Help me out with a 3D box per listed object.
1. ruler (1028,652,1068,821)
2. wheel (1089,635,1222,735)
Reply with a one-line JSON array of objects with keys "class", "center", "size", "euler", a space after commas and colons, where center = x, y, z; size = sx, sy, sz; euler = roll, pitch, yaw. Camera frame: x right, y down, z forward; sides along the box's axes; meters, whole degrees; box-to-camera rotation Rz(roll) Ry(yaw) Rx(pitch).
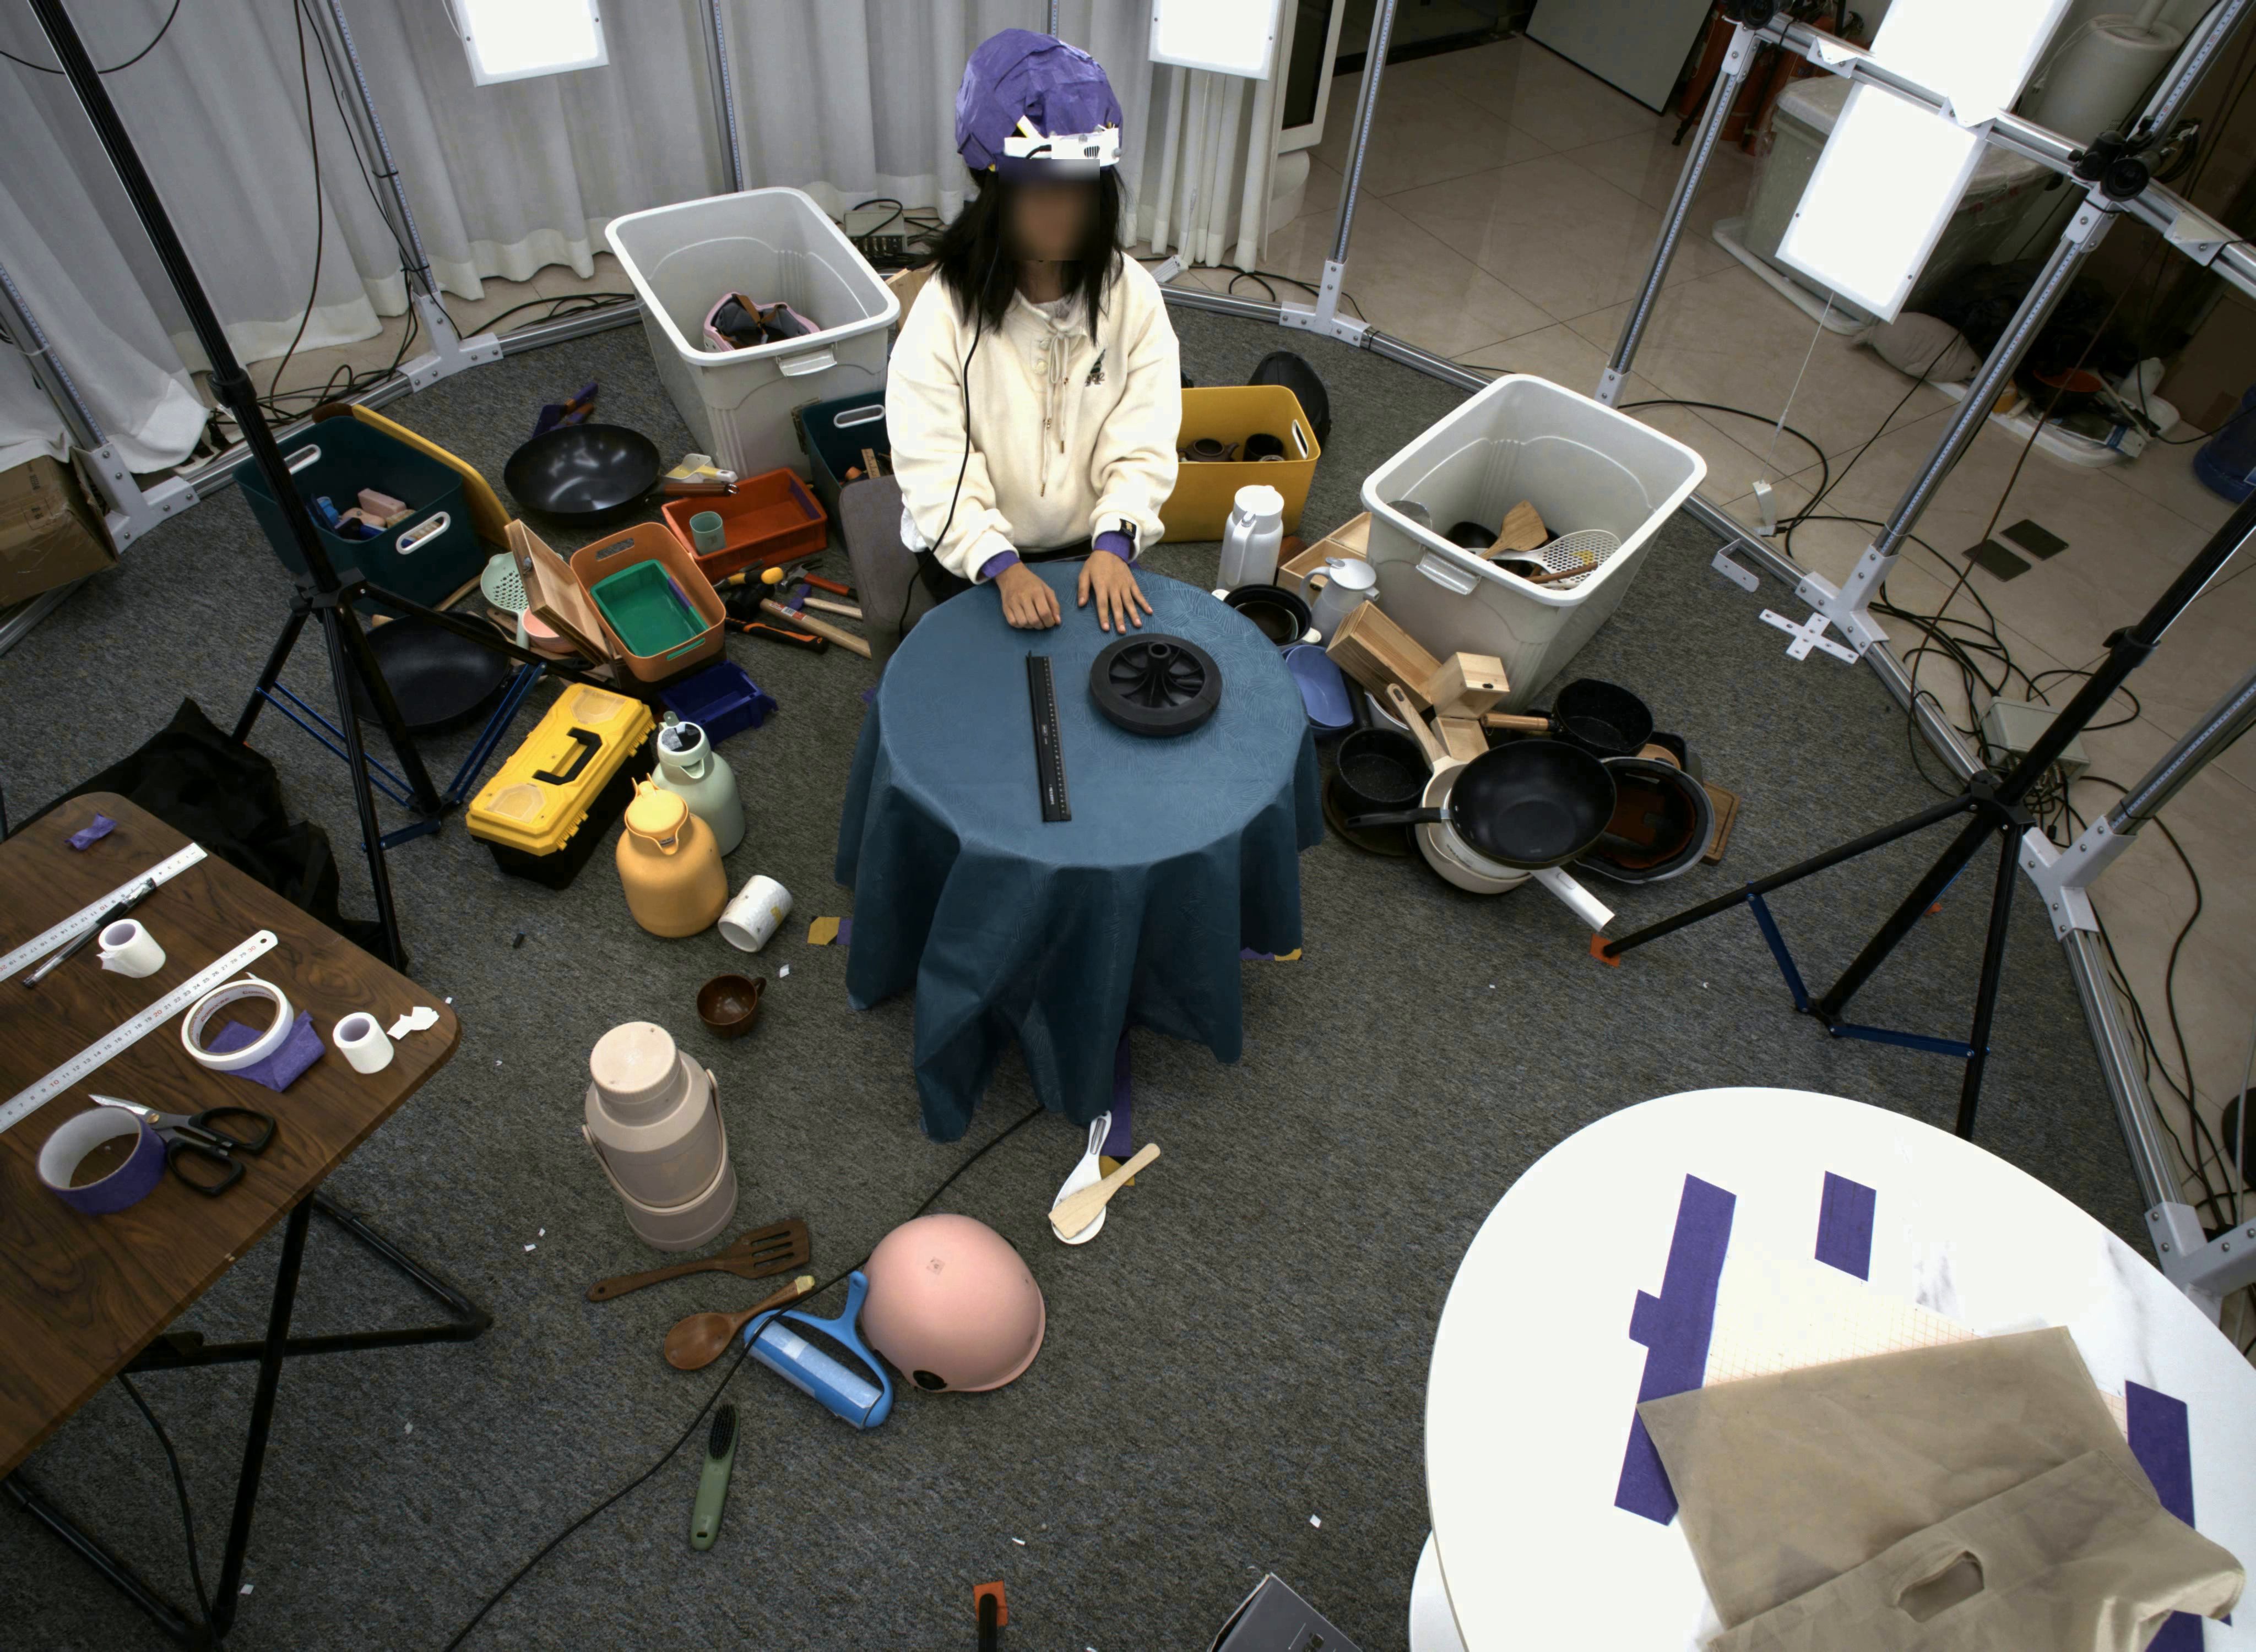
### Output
[{"class": "ruler", "center": [-0.110, -0.130, 1.765], "size": [0.039, 0.017, 0.320], "euler": [0, 49, -9]}, {"class": "wheel", "center": [0.041, -0.217, 1.812], "size": [0.190, 0.077, 0.192], "euler": [-14, 52, -16]}]
